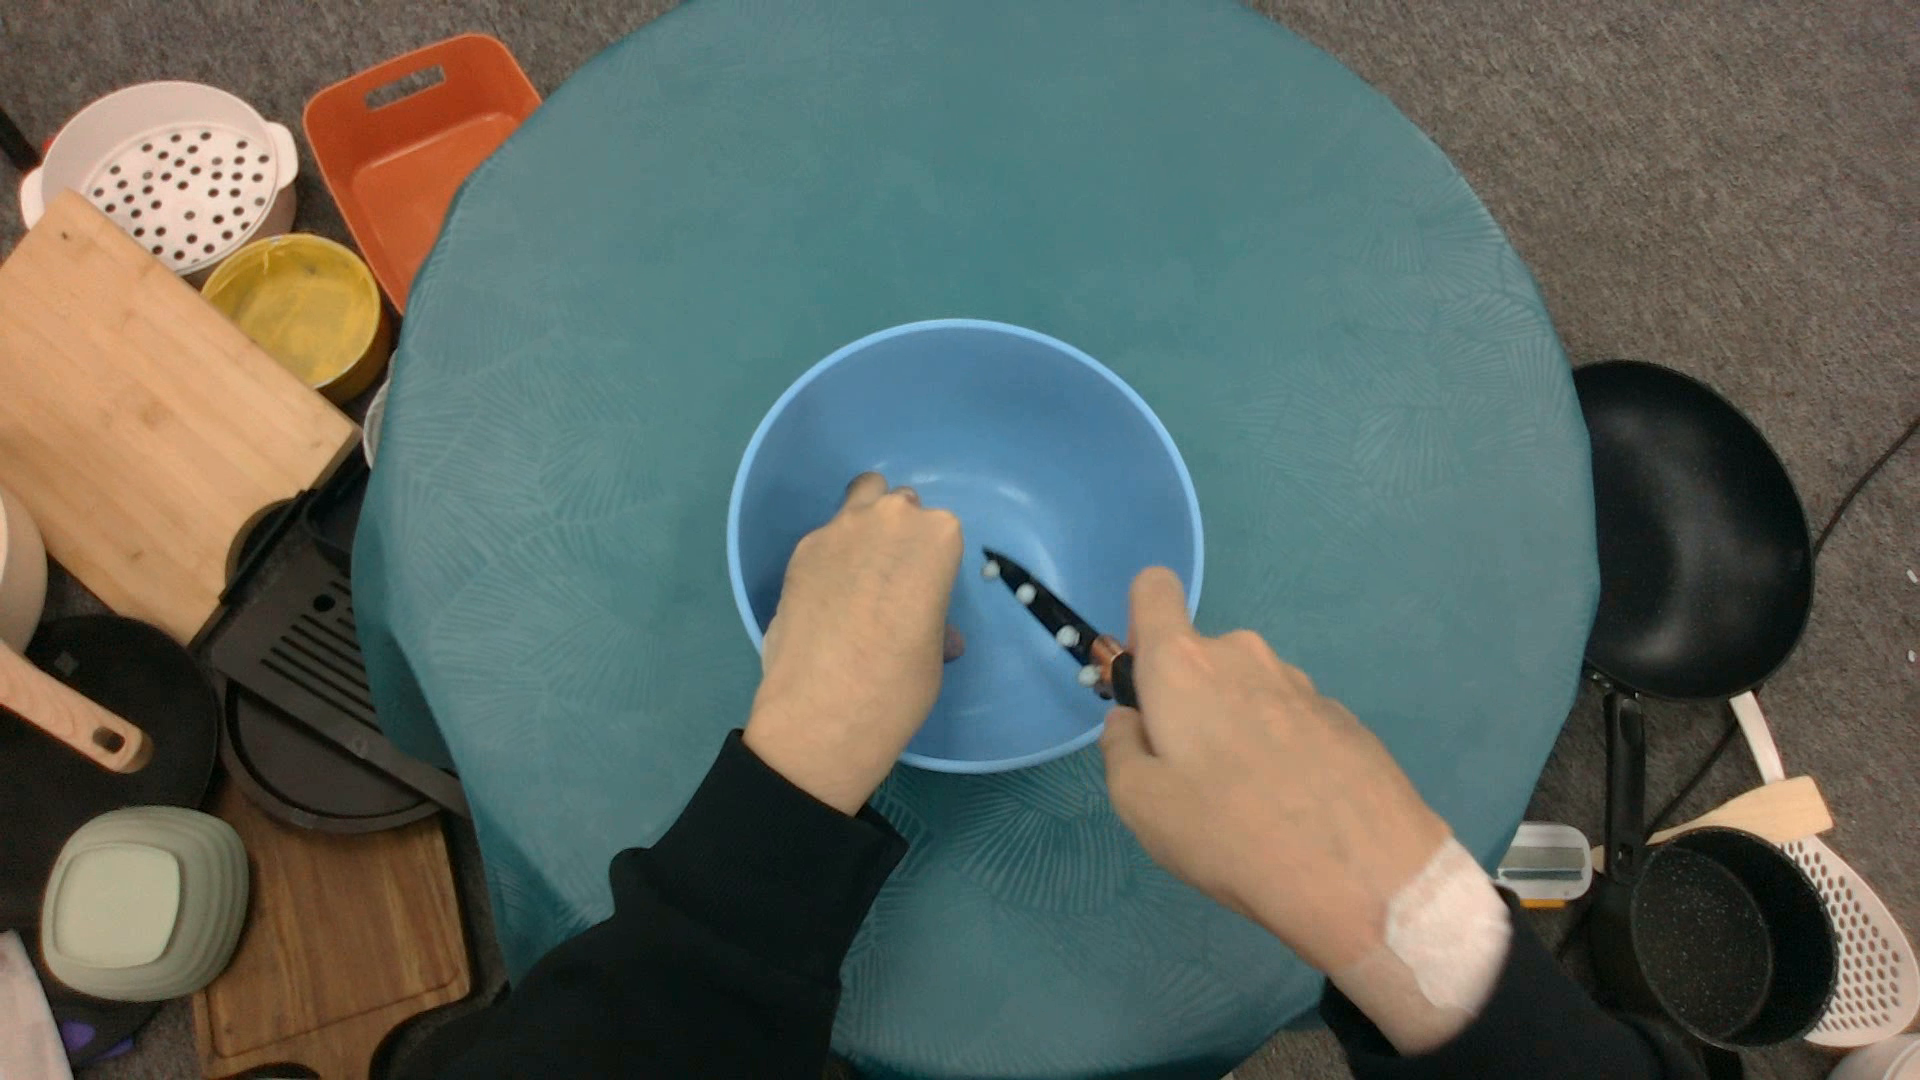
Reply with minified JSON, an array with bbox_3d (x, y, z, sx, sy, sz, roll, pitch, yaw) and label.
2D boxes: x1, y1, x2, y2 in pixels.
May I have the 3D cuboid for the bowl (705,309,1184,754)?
[{"bbox_3d":[-0.009,0.007,0.602,0.196,0.095,0.197,3,67,-6],"label":"bowl"}]

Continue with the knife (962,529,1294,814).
[{"bbox_3d":[0.050,0.036,0.511,0.017,0.026,0.226,-15,29,-21],"label":"knife"}]
